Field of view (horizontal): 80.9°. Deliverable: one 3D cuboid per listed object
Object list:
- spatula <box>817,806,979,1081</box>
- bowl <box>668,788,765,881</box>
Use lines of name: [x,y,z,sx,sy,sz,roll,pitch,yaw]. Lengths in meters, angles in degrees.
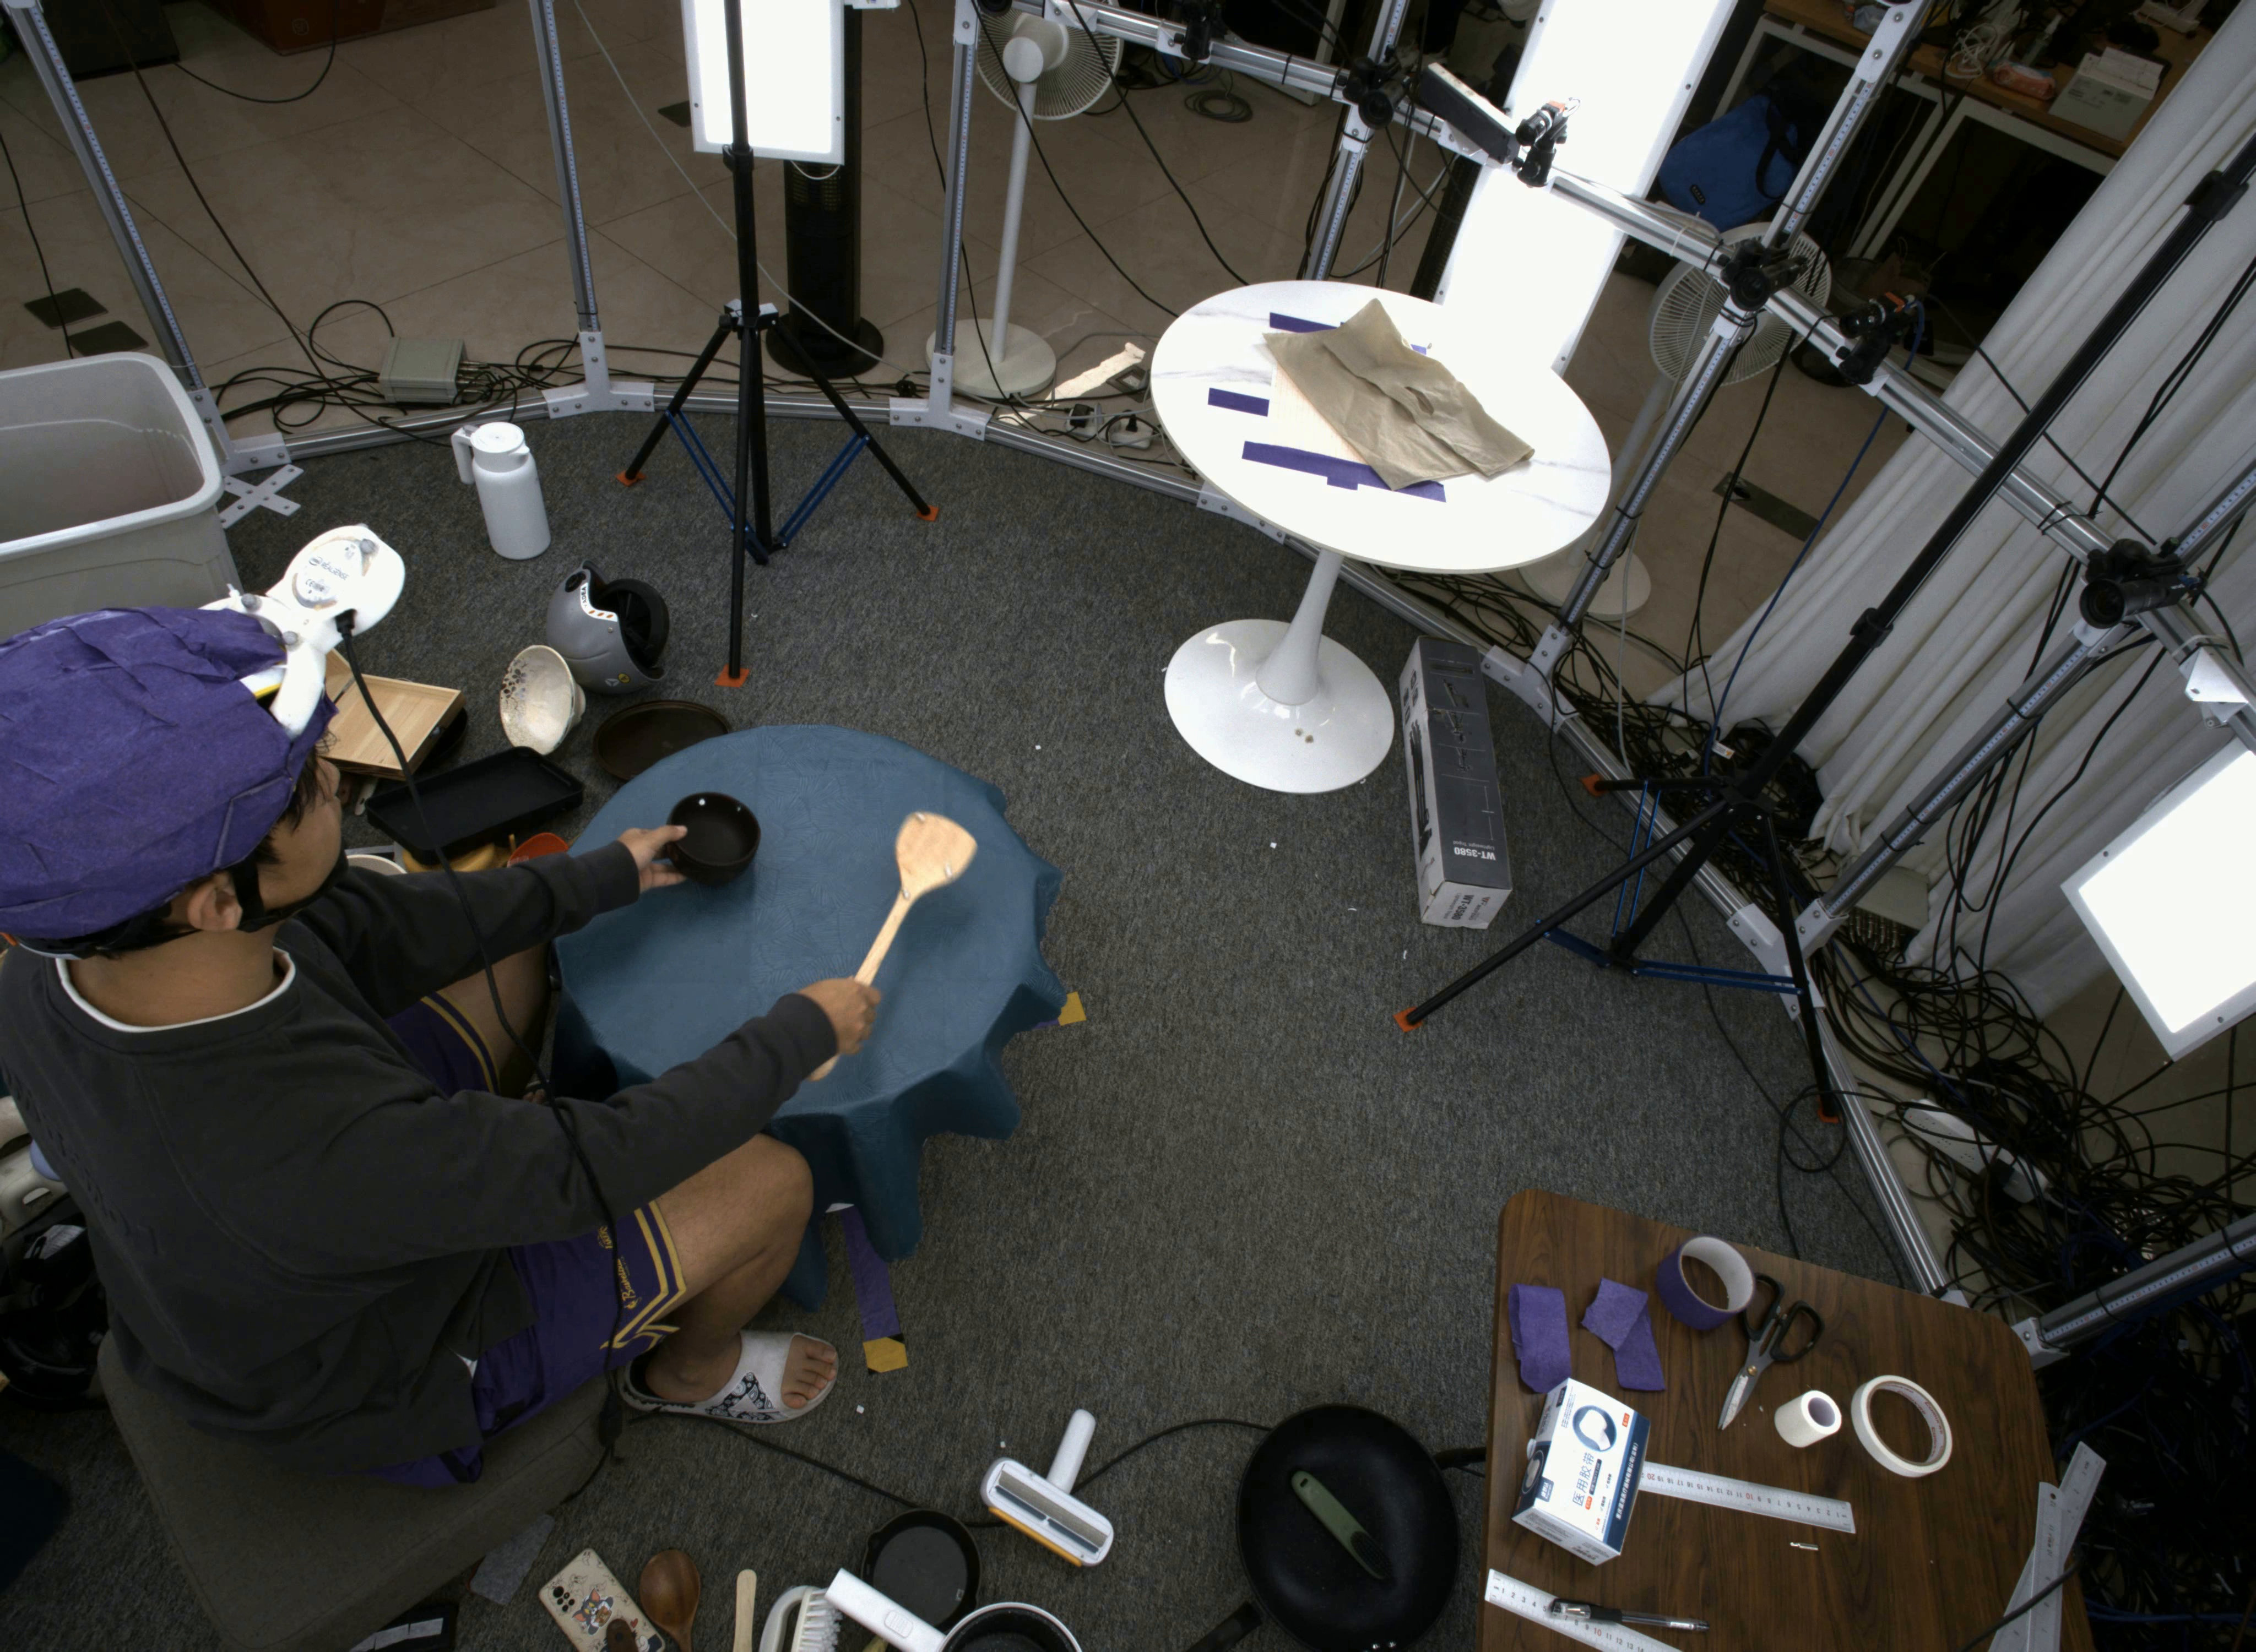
spatula: [-0.280,0.131,1.546,0.096,0.018,0.386,23,52,-6]
bowl: [-0.523,0.017,1.631,0.119,0.070,0.116,18,47,-18]
